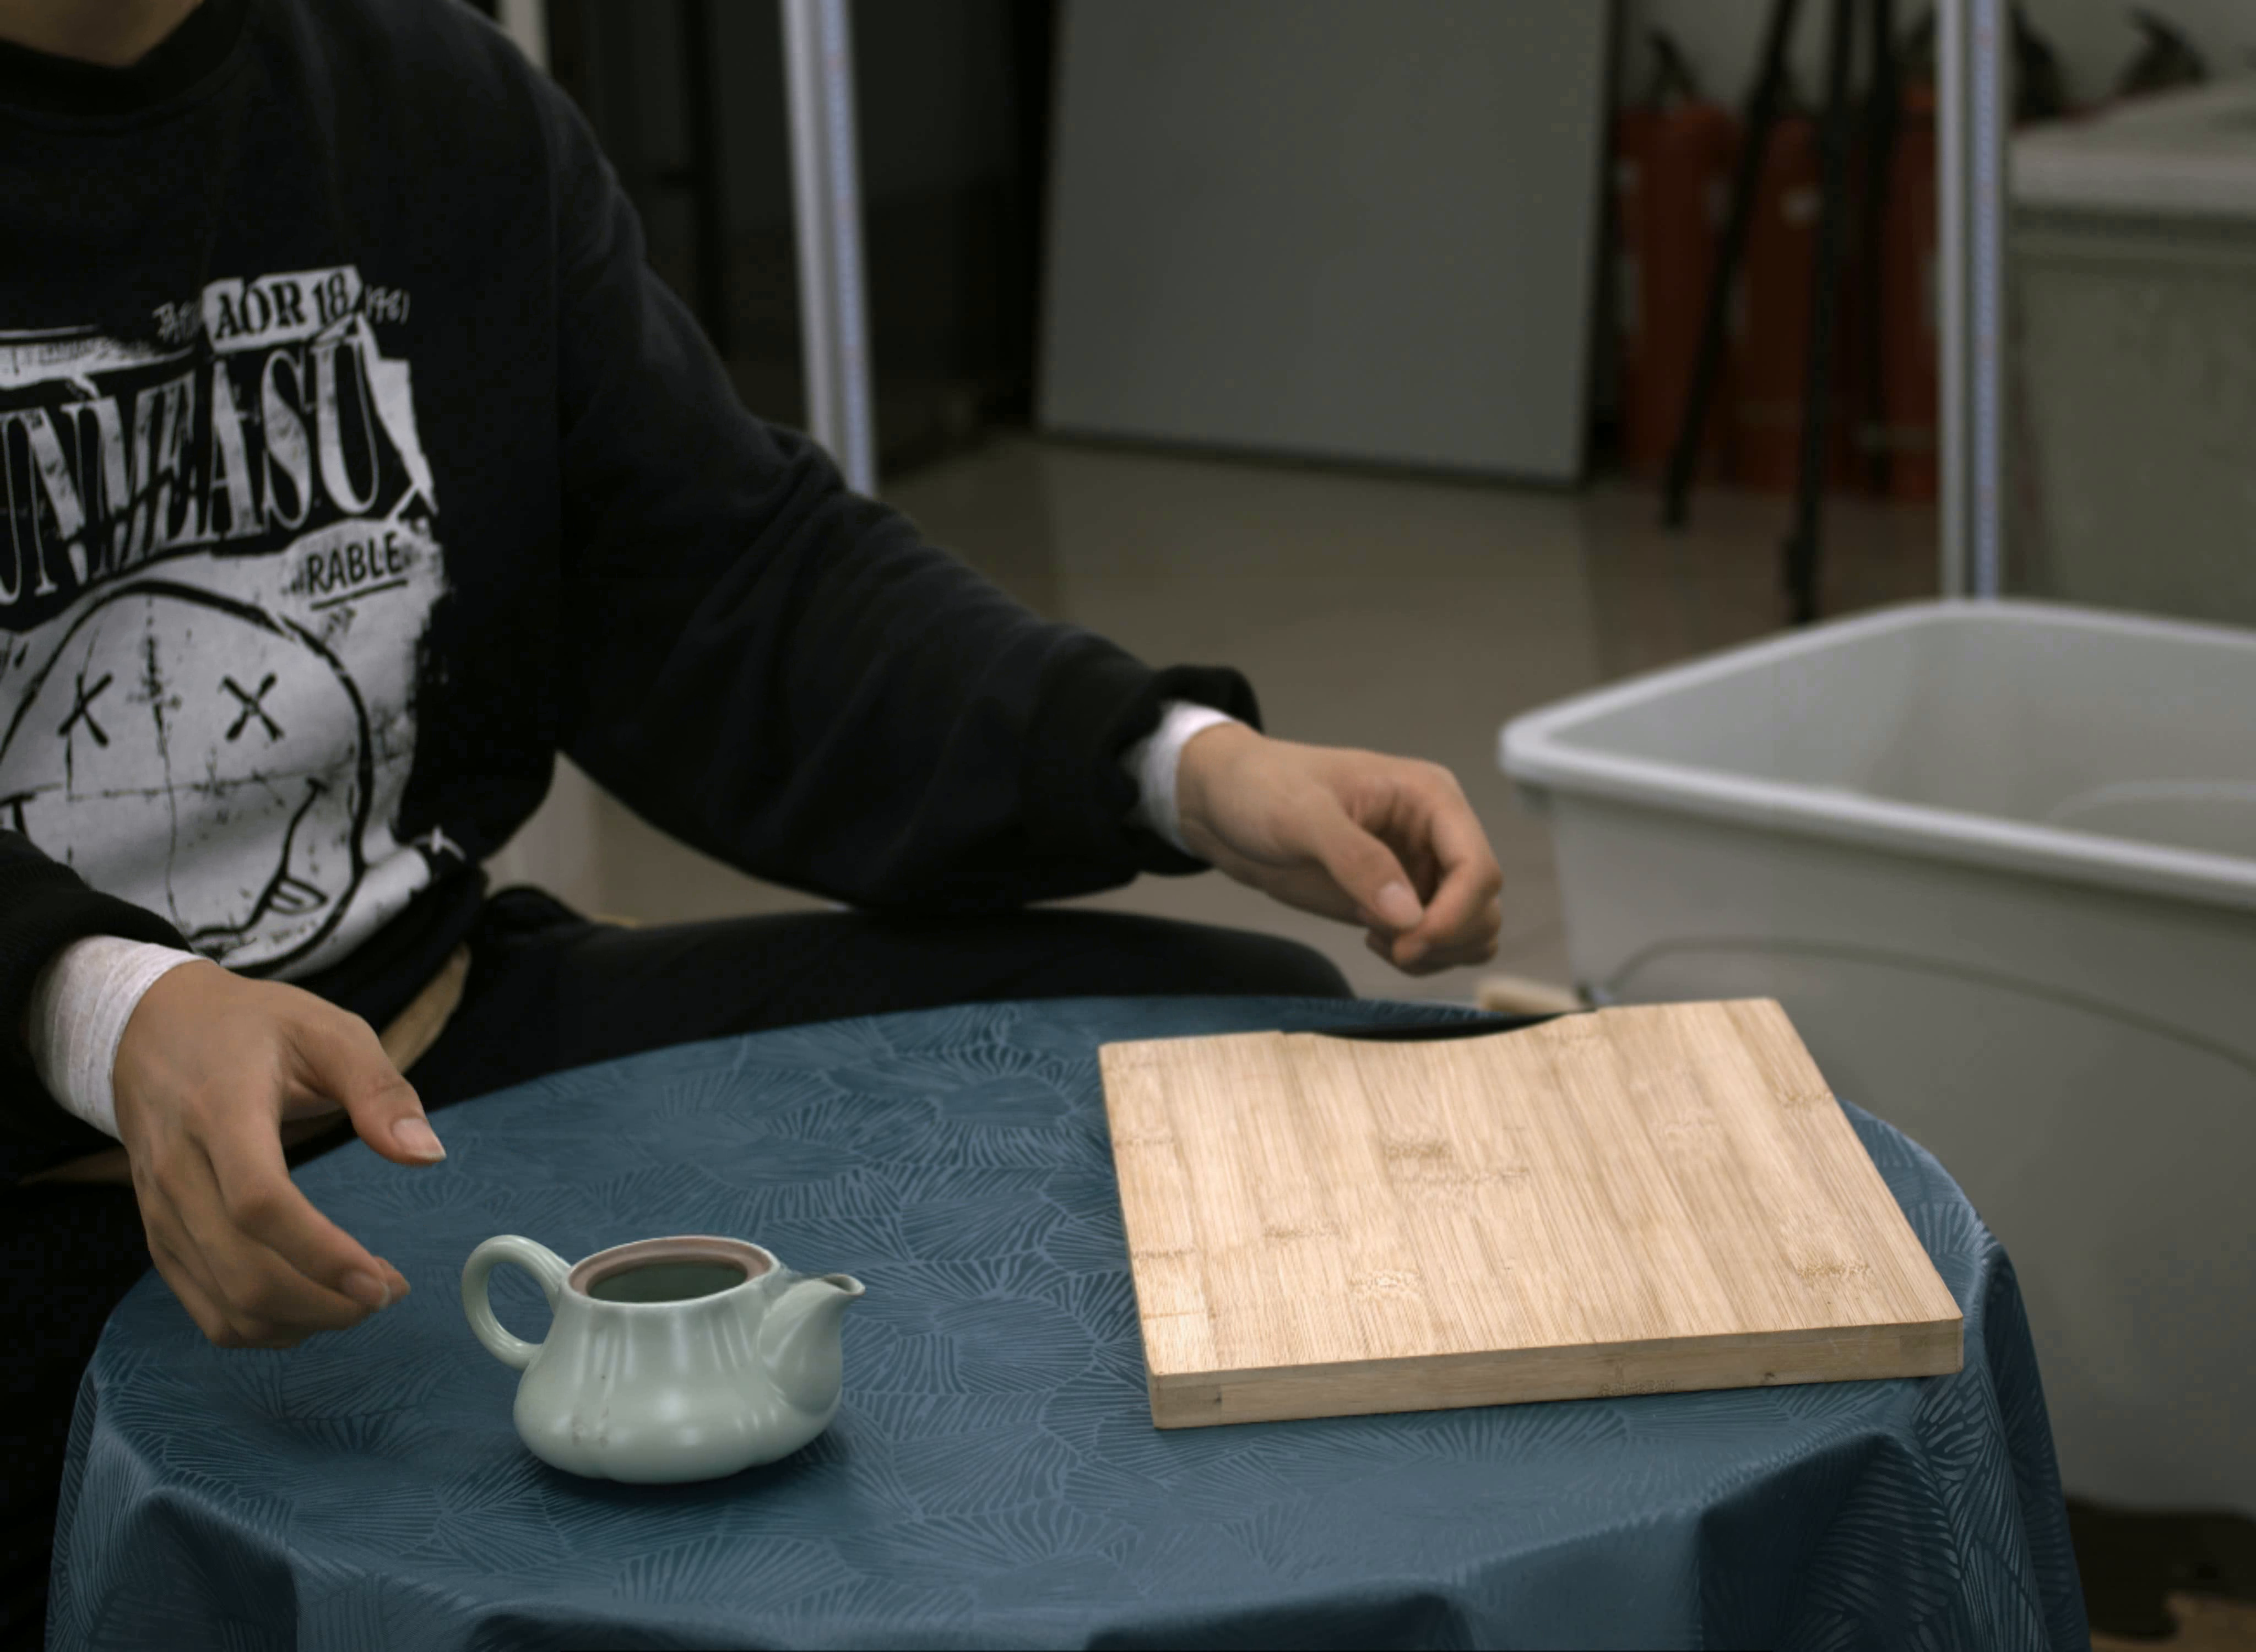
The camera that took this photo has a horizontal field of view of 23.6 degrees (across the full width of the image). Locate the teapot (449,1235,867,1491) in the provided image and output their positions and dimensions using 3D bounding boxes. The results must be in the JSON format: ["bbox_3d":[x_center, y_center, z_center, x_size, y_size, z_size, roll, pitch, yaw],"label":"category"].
[{"bbox_3d":[-0.135,0.153,1.560,0.137,0.062,0.095,3,17,26],"label":"teapot"}]

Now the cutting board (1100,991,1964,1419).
[{"bbox_3d":[0.117,0.117,1.723,0.247,0.024,0.349,-5,14,-2],"label":"cutting board"}]
